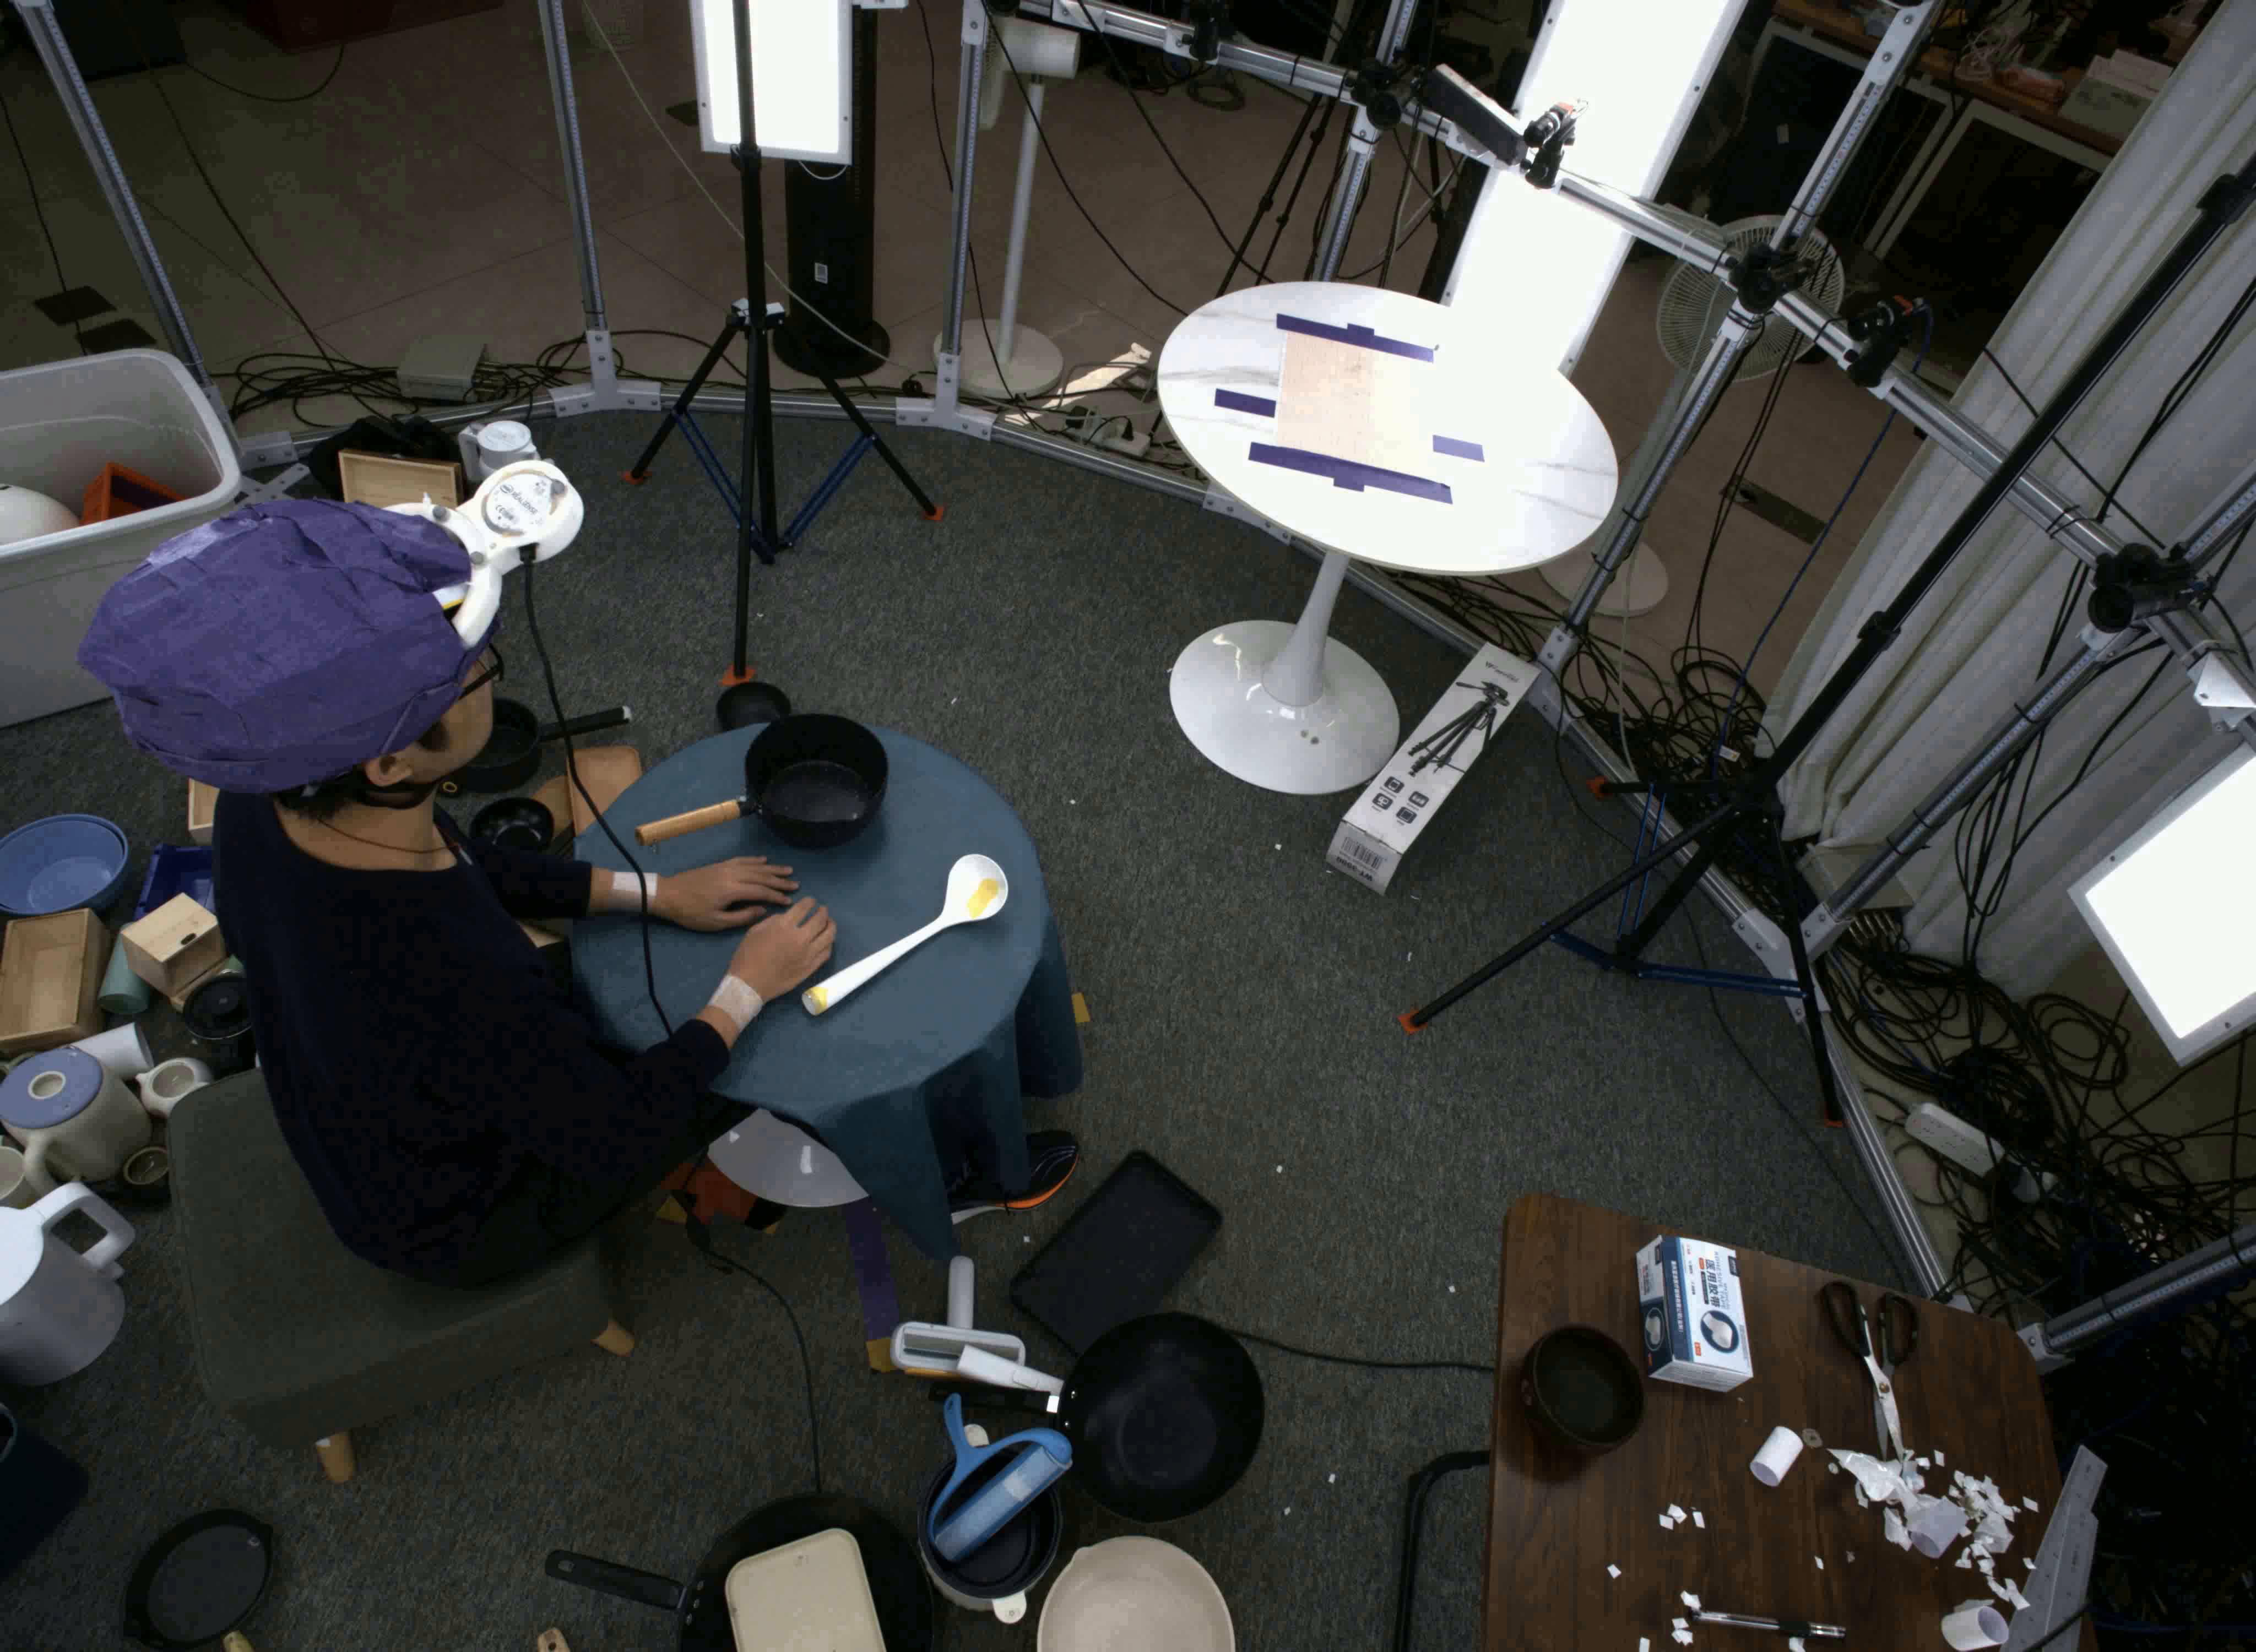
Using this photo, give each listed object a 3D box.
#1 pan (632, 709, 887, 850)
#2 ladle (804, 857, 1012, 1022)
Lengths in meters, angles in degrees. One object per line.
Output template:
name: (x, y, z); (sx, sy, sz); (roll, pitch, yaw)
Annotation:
pan: (-0.469, -0.029, 1.653); (0.344, 0.110, 0.203); (-29, 66, -33)
ladle: (-0.271, 0.140, 1.608); (0.294, 0.071, 0.089); (-33, 73, -31)
